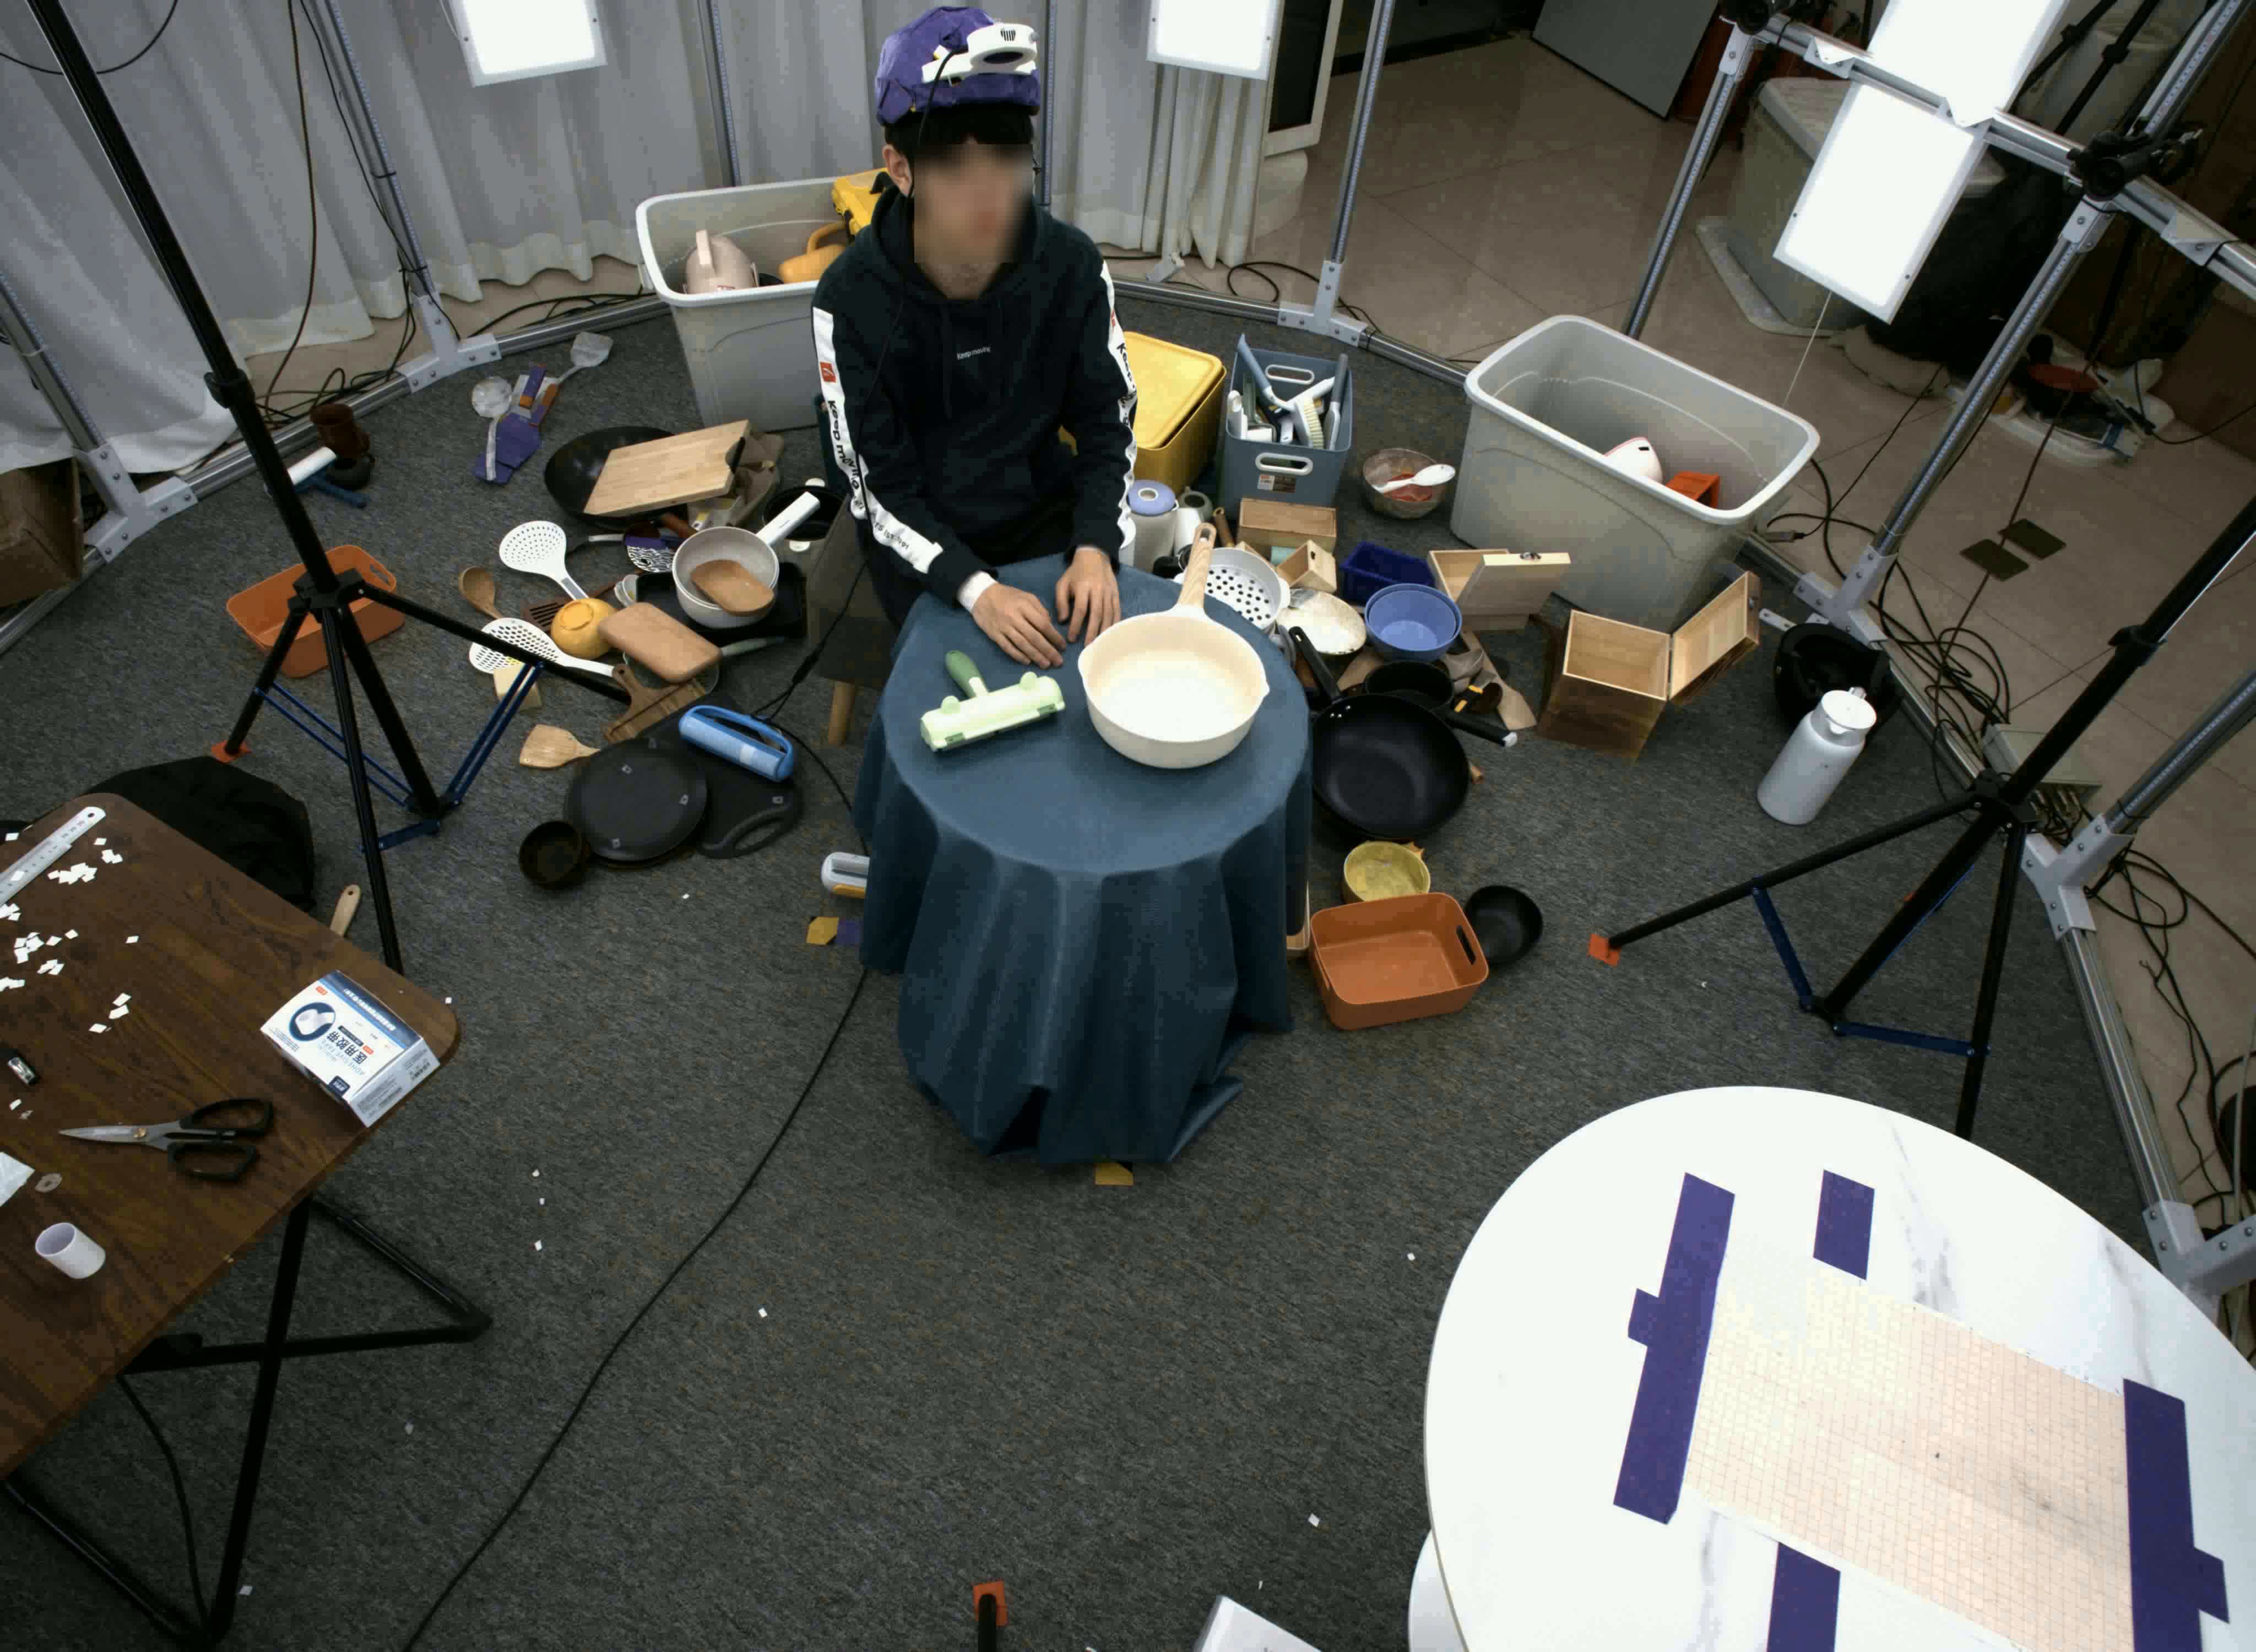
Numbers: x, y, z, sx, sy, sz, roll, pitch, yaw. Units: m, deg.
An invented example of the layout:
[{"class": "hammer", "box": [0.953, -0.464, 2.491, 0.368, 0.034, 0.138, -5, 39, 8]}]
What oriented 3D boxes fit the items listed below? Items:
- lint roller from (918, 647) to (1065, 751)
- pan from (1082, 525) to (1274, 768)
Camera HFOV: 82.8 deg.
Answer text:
[{"class": "lint roller", "box": [-0.210, -0.201, 1.779, 0.199, 0.080, 0.187, -20, 59, -19]}, {"class": "pan", "box": [0.082, -0.256, 1.831, 0.263, 0.099, 0.445, 8, 49, 5]}]
